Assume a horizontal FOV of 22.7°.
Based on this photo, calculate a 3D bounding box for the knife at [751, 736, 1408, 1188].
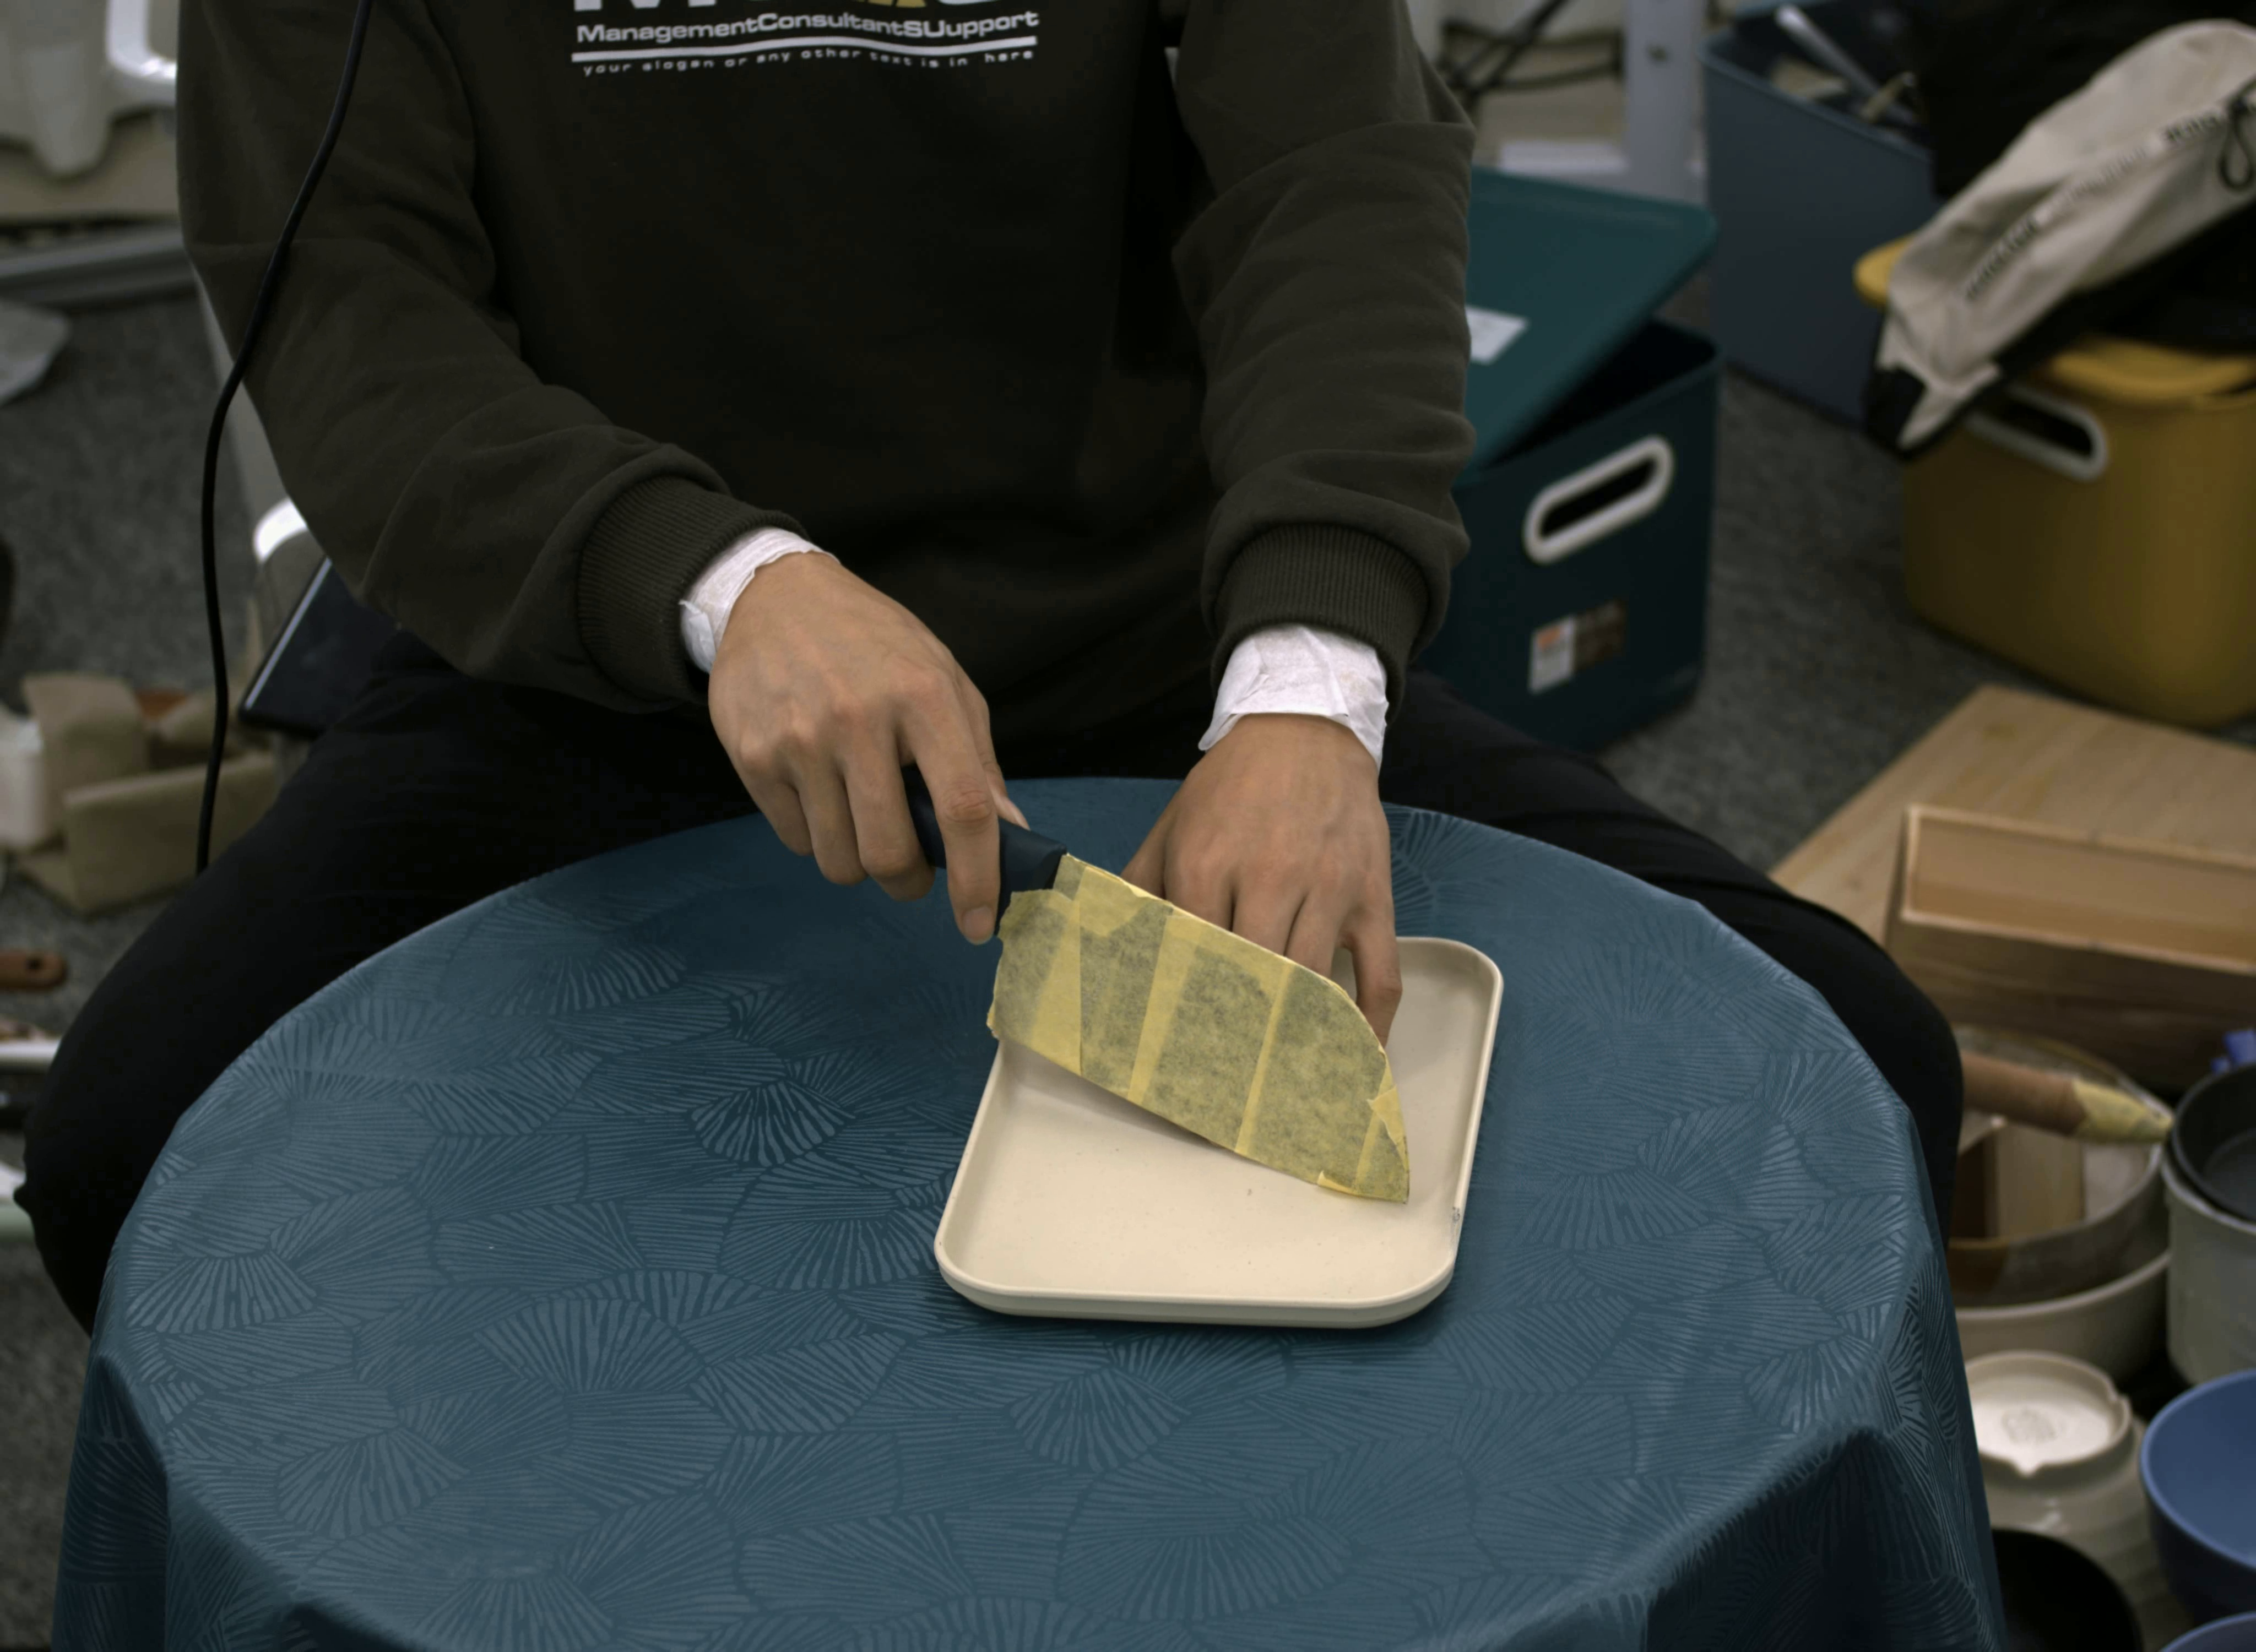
[{"bbox_3d":[-0.020,0.044,1.898,0.289,0.080,0.027,29,21,29],"label":"knife"}]

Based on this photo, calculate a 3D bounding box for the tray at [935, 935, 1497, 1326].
[{"bbox_3d":[0.033,0.101,1.880,0.170,0.017,0.243,1,27,8],"label":"tray"}]
